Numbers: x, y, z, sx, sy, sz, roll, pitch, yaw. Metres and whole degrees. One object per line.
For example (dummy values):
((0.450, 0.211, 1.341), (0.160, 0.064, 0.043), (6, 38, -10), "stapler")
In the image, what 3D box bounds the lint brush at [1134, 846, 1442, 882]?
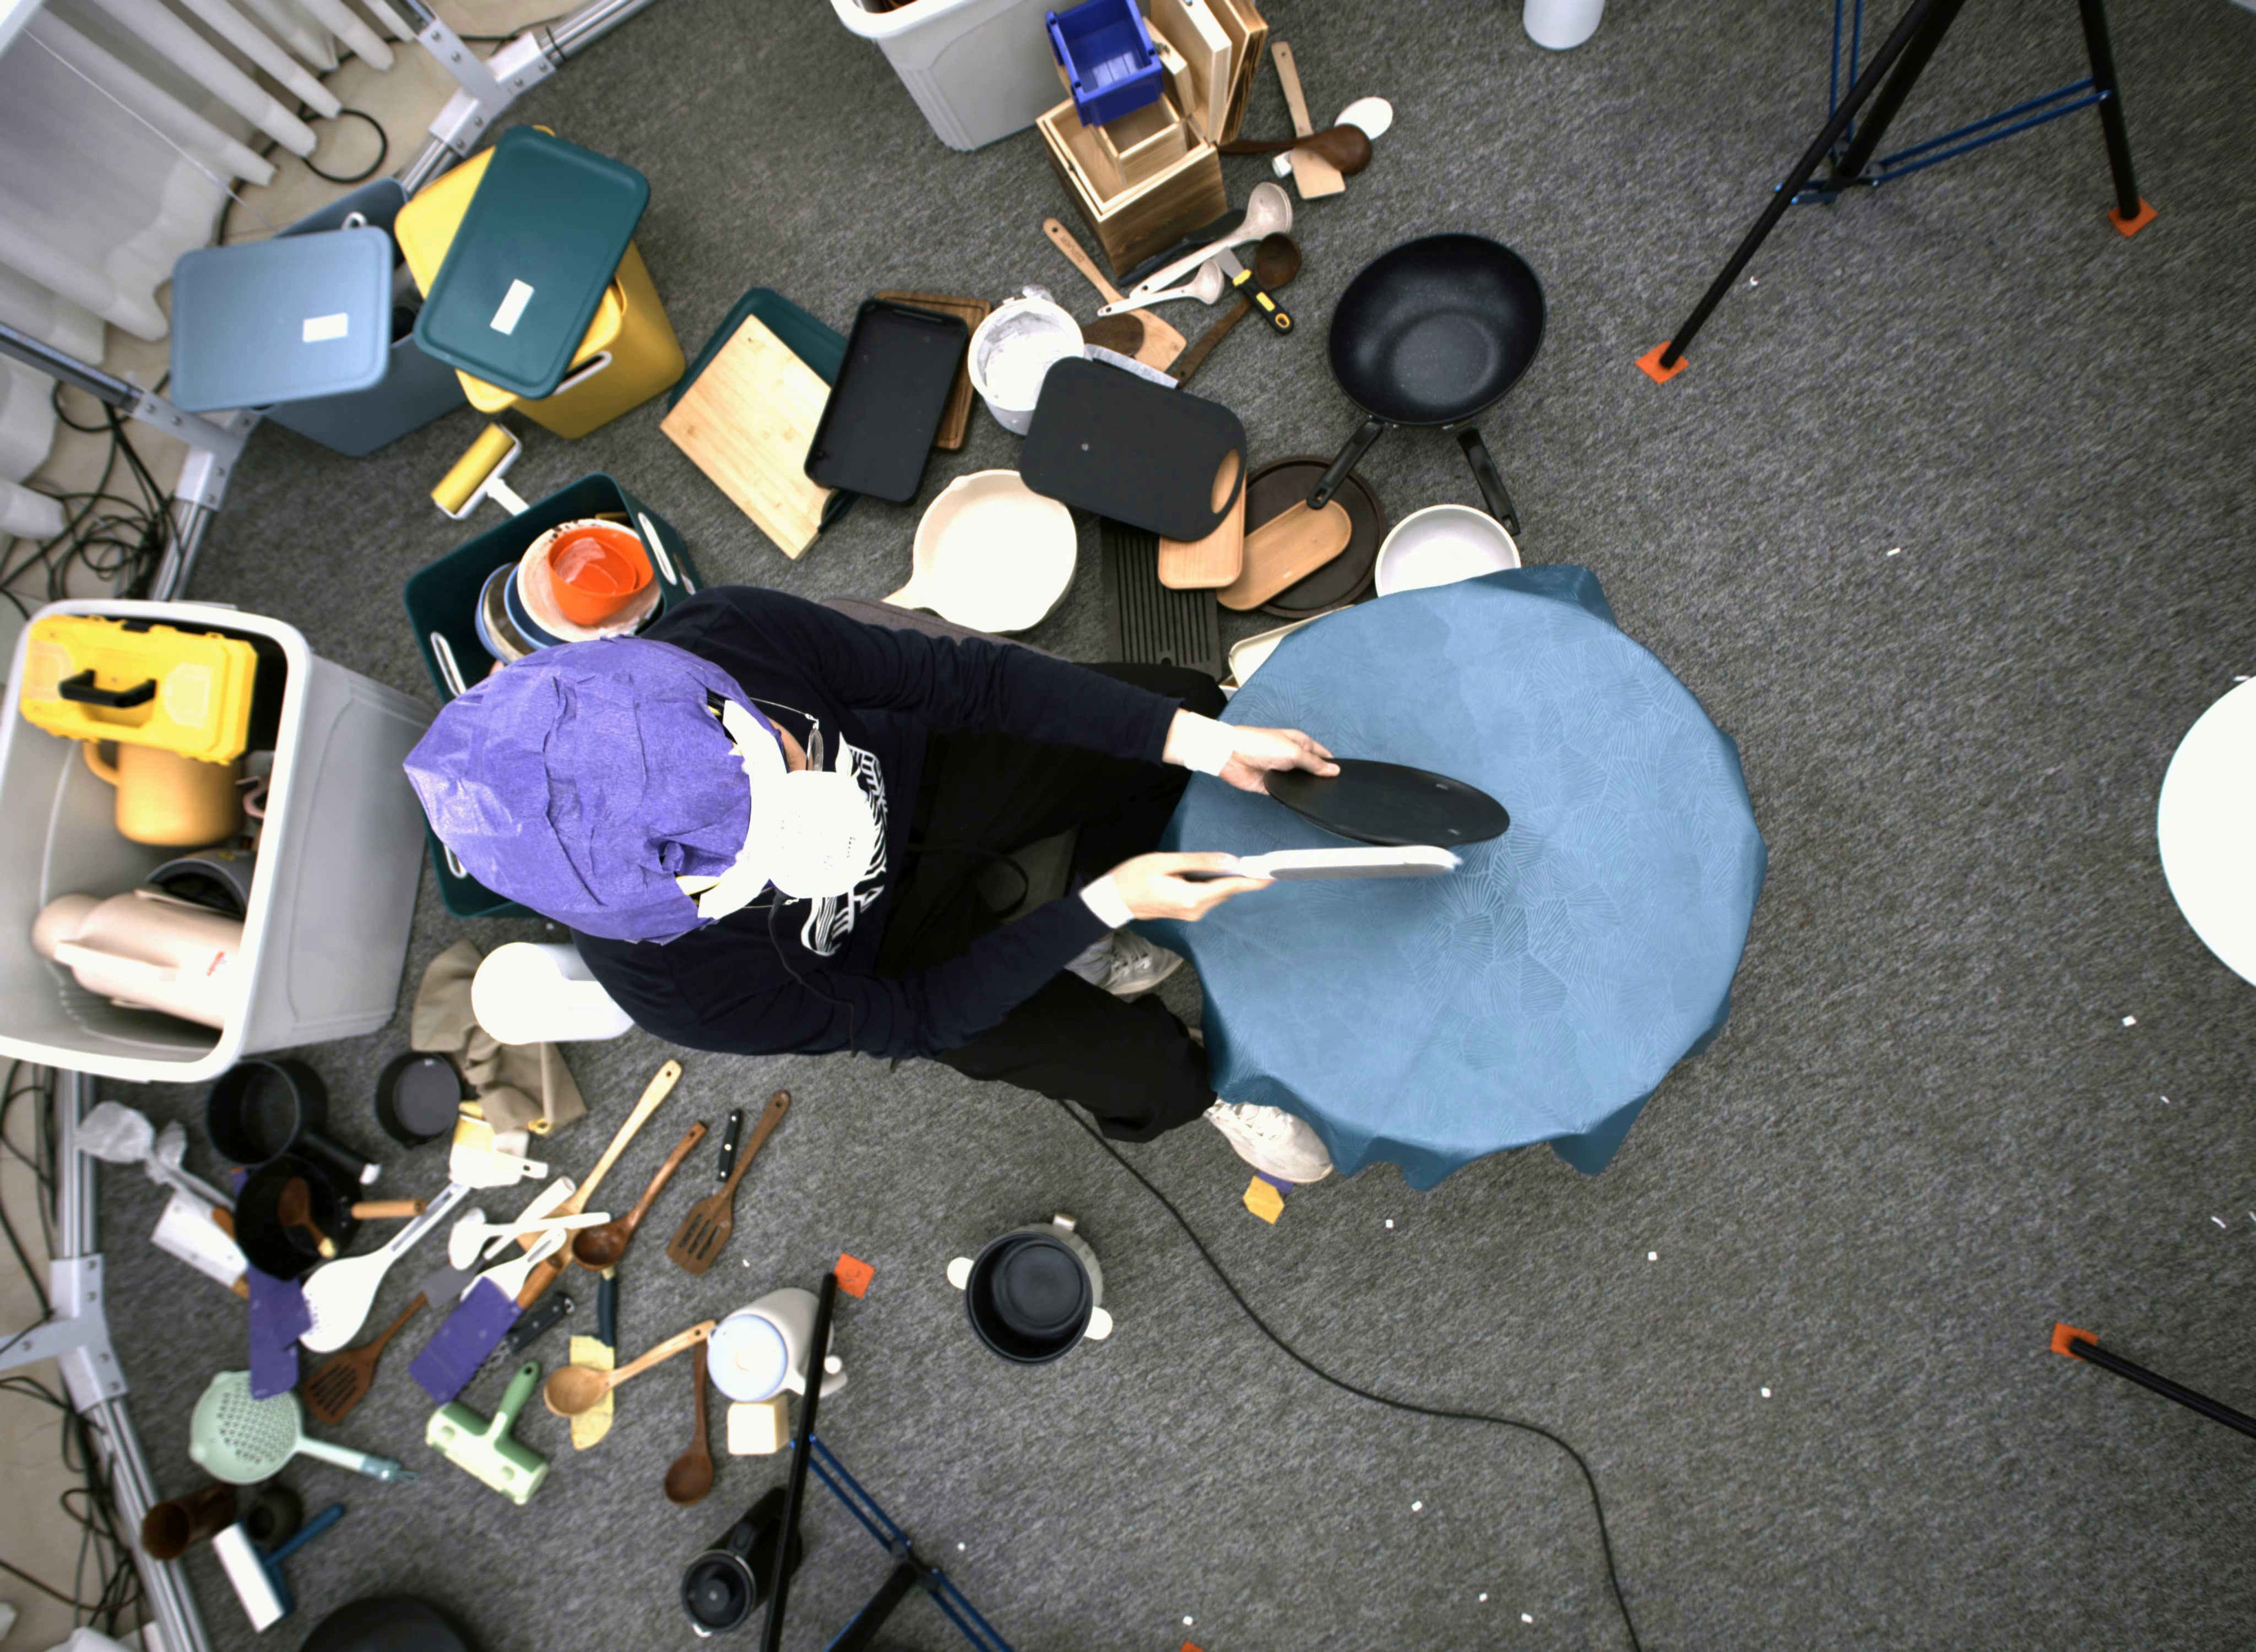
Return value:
((0.148, 0.037, 1.330), (0.311, 0.060, 0.021), (-4, 78, 25), "lint brush")

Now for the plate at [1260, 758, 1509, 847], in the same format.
((0.251, -0.022, 1.356), (0.245, 0.240, 0.024), (10, 109, 11), "plate")
